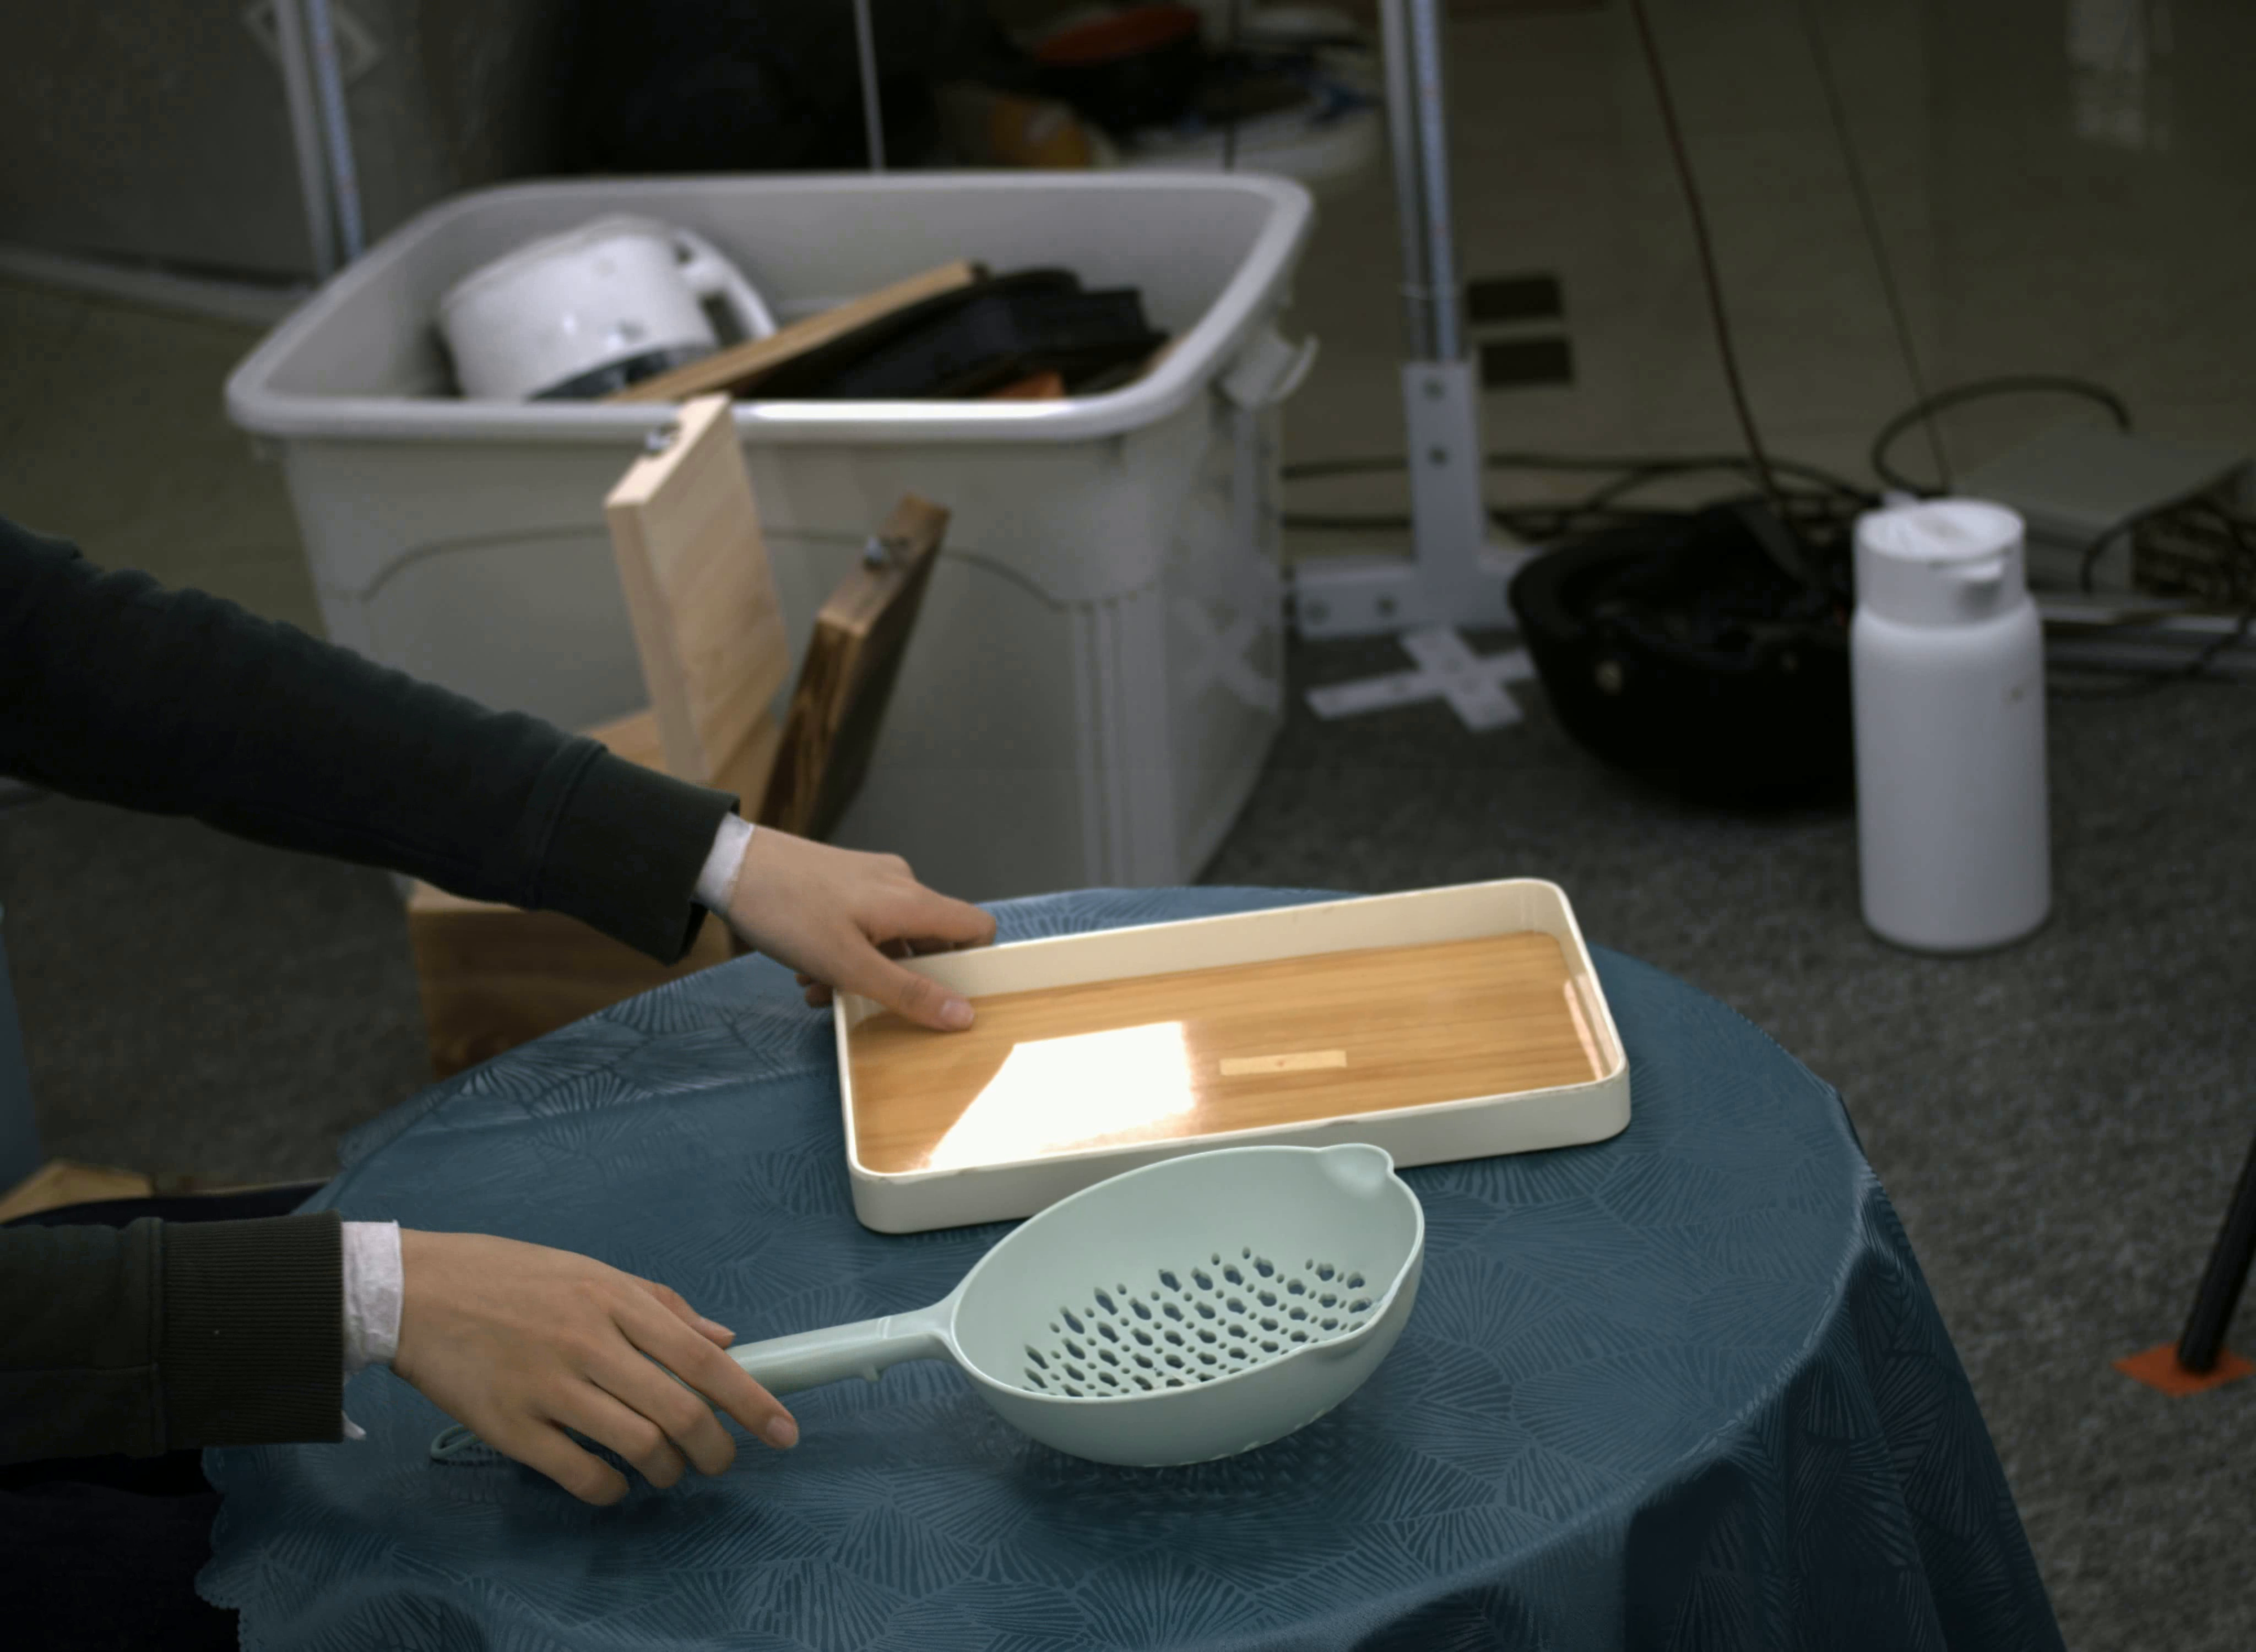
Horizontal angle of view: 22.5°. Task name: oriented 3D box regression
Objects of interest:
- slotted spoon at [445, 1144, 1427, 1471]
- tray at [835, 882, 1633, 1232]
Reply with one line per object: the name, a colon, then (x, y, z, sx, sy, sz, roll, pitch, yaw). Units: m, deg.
slotted spoon: (-0.071, 0.184, 1.996, 0.358, 0.076, 0.167, -4, 25, 6)
tray: (0.037, 0.089, 2.221, 0.300, 0.028, 0.189, -7, 25, -2)
